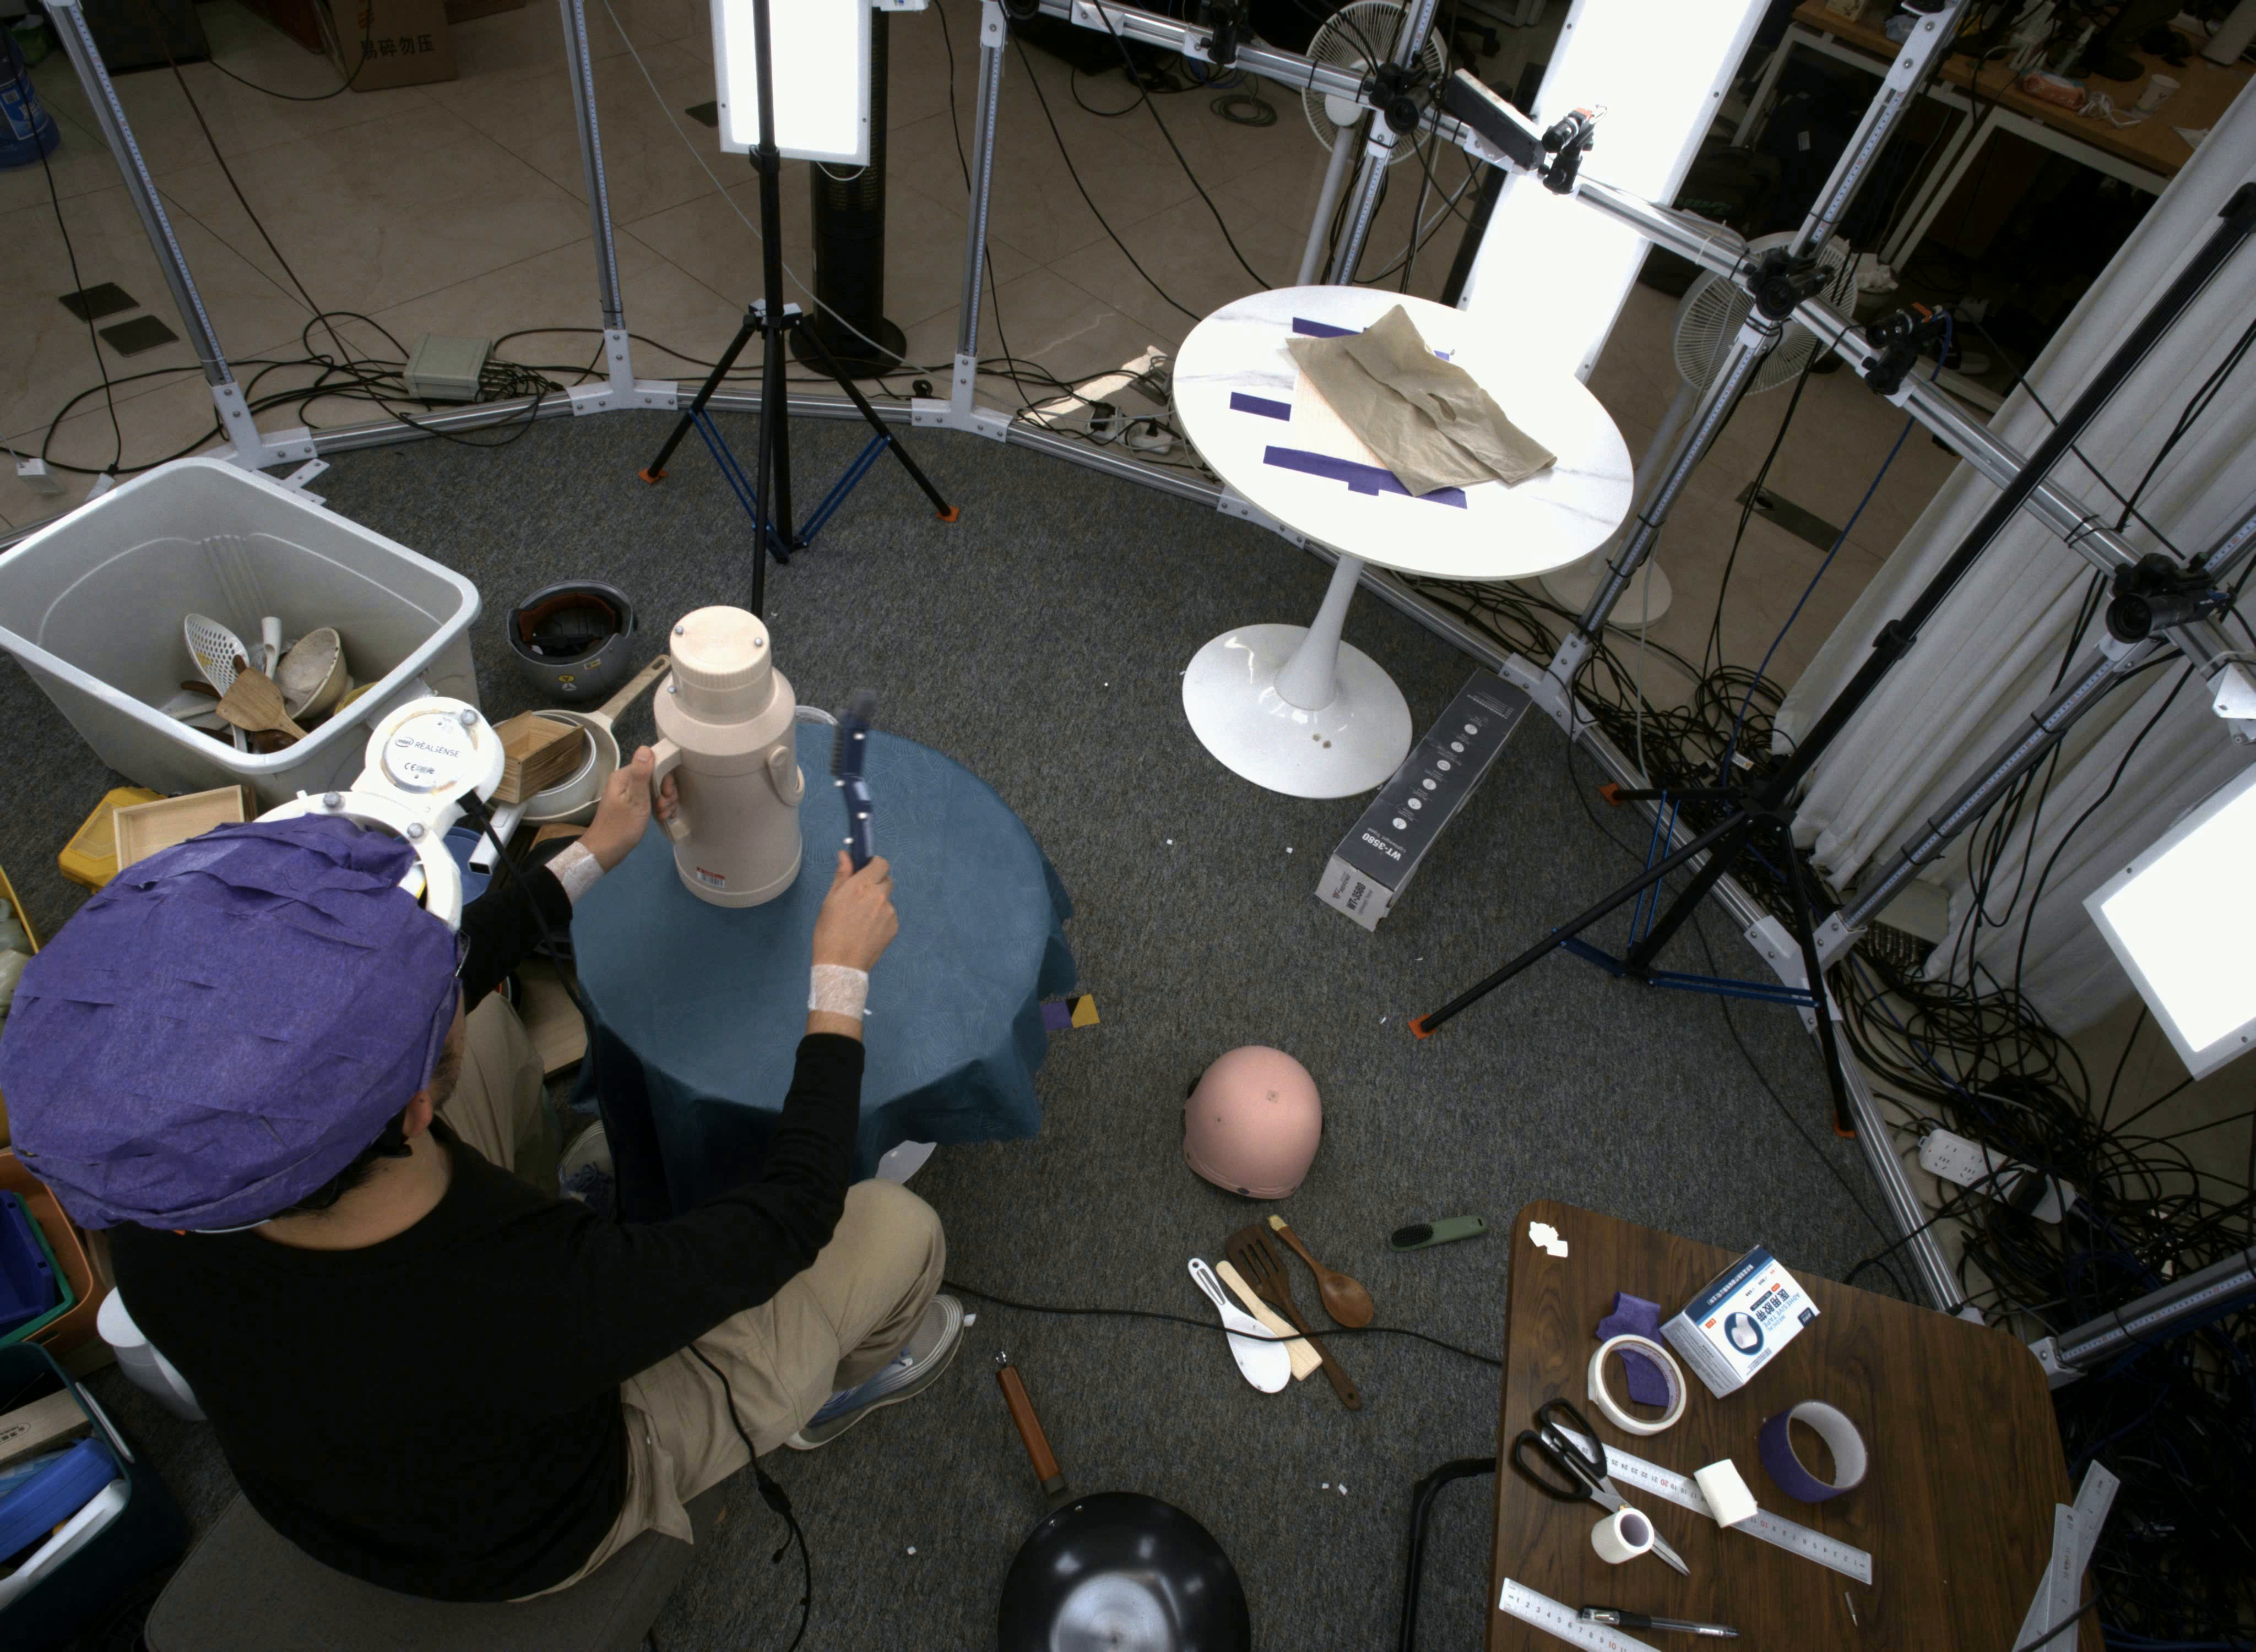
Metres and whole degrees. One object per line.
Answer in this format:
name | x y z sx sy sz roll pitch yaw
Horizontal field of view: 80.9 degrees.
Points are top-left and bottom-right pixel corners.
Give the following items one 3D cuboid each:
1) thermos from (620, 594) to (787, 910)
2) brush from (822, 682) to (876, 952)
thermos | -0.497 -0.075 1.498 0.172 0.414 0.207 34 53 13
brush | -0.296 -0.009 1.389 0.034 0.093 0.273 3 75 -47
